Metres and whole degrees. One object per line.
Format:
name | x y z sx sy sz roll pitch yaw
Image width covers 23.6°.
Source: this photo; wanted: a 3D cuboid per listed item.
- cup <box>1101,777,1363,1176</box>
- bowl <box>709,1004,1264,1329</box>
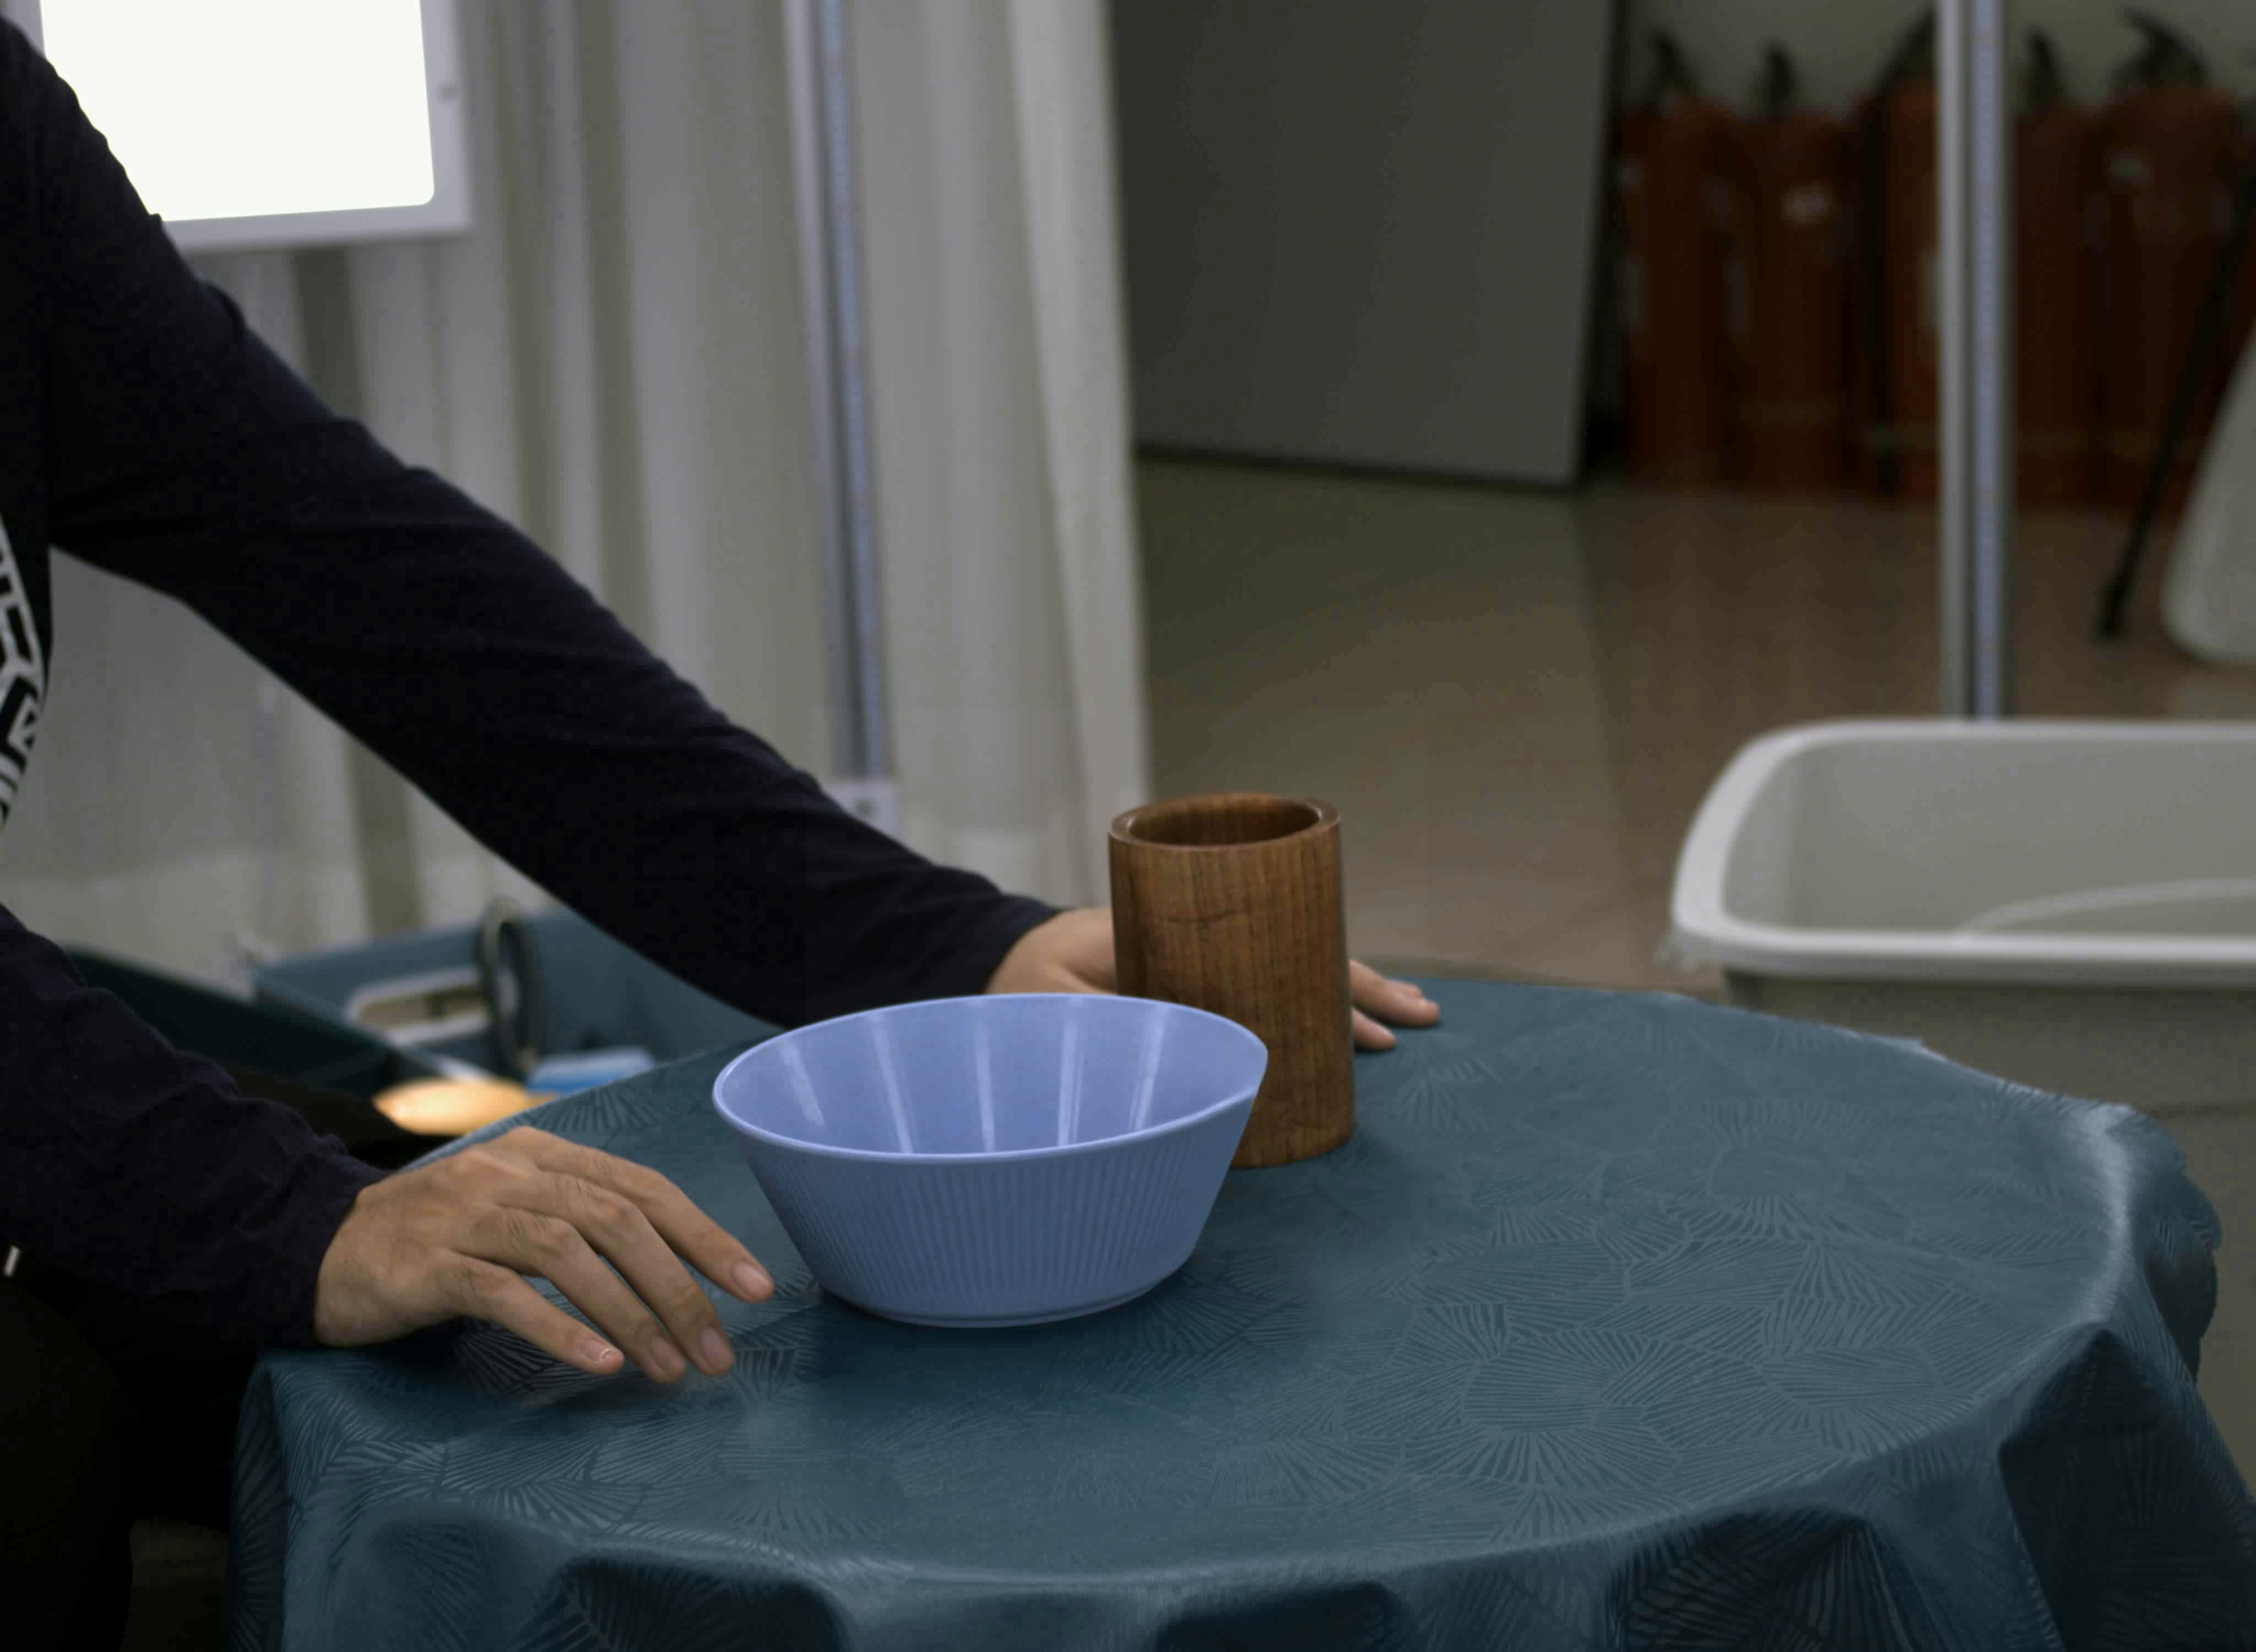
cup | 0.036 0.050 1.811 0.086 0.120 0.088 -5 11 0
bowl | -0.042 0.108 1.693 0.174 0.071 0.176 -4 13 0
